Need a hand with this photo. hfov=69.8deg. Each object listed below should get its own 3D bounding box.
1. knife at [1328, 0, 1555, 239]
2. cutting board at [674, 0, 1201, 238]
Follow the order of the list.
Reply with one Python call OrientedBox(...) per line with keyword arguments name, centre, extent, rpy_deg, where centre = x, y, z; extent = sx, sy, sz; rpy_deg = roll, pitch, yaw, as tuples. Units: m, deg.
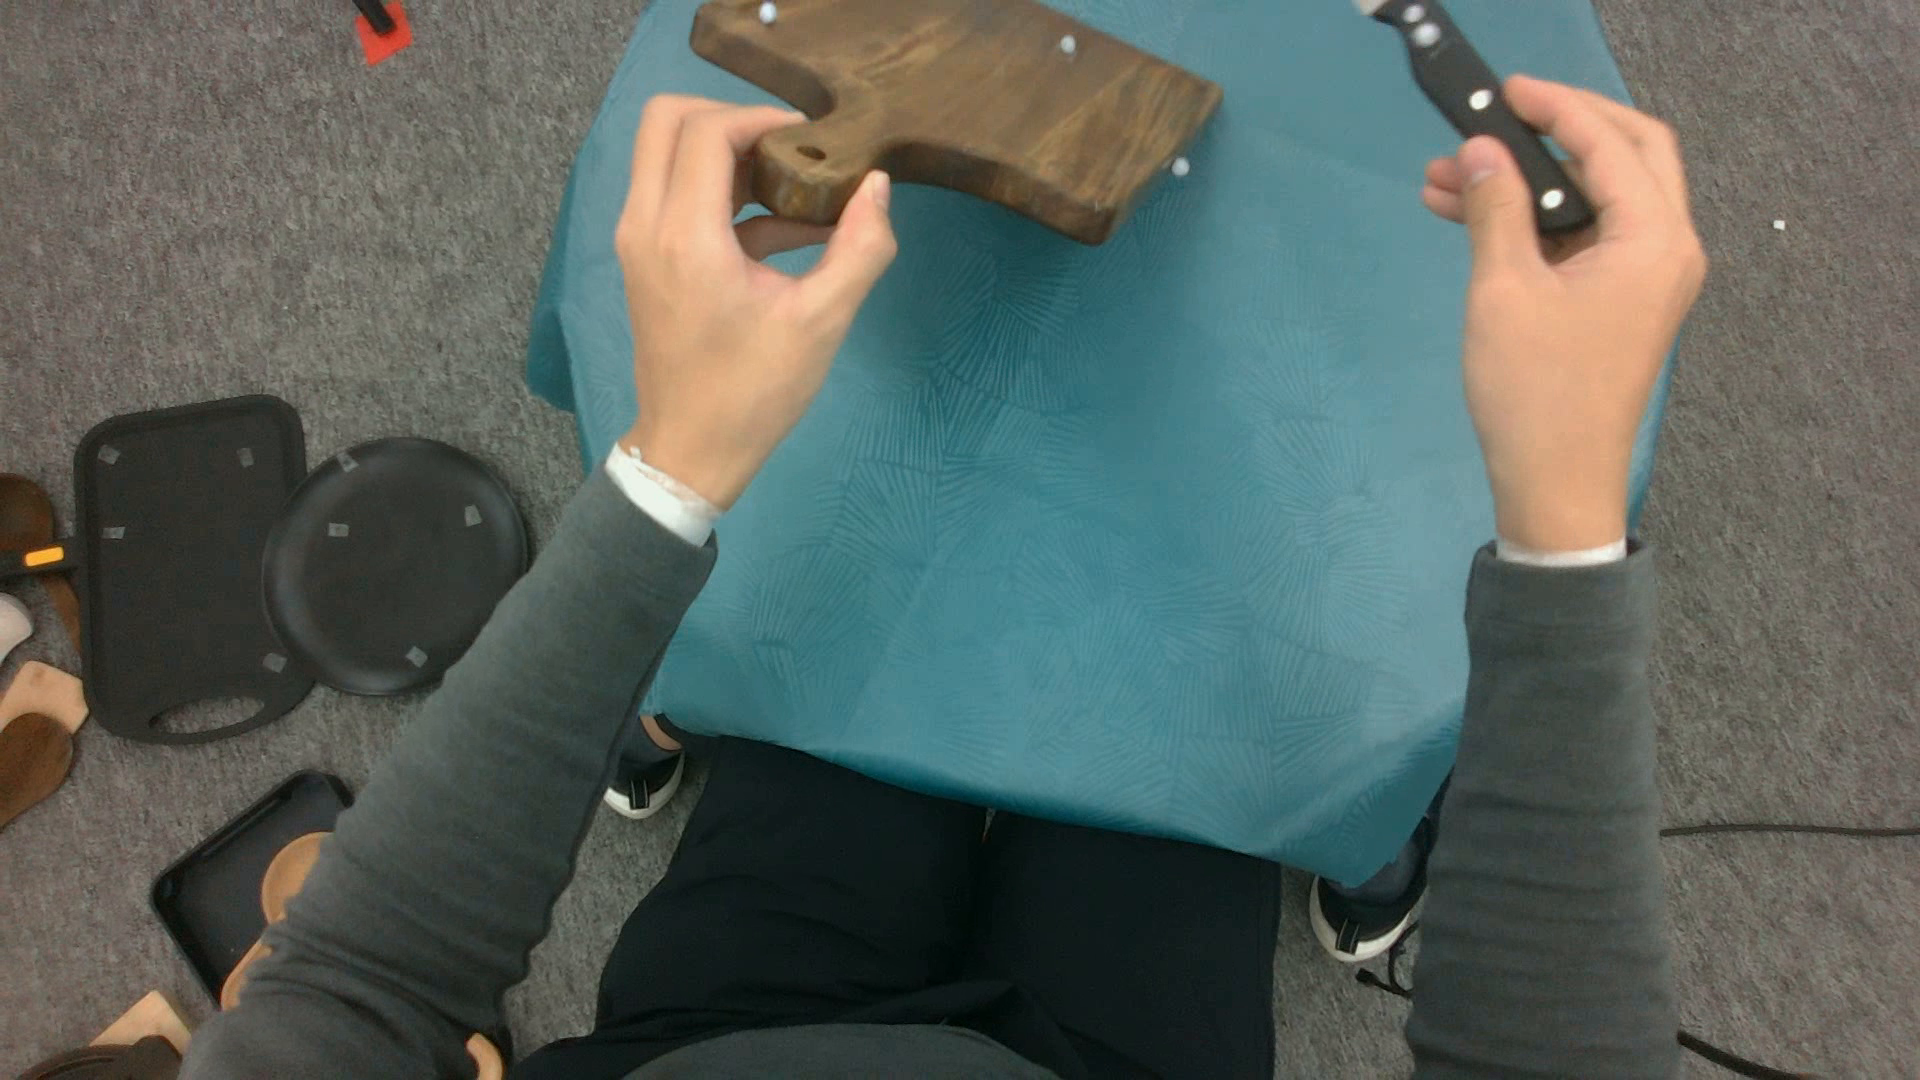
OrientedBox(name="knife", centre=(0.146, -0.209, 0.512), extent=(0.024, 0.016, 0.238), rpy_deg=(-39, 72, 25))
OrientedBox(name="cutting board", centre=(-0.009, -0.203, 0.622), extent=(0.201, 0.354, 0.023), rpy_deg=(26, 124, 6))
